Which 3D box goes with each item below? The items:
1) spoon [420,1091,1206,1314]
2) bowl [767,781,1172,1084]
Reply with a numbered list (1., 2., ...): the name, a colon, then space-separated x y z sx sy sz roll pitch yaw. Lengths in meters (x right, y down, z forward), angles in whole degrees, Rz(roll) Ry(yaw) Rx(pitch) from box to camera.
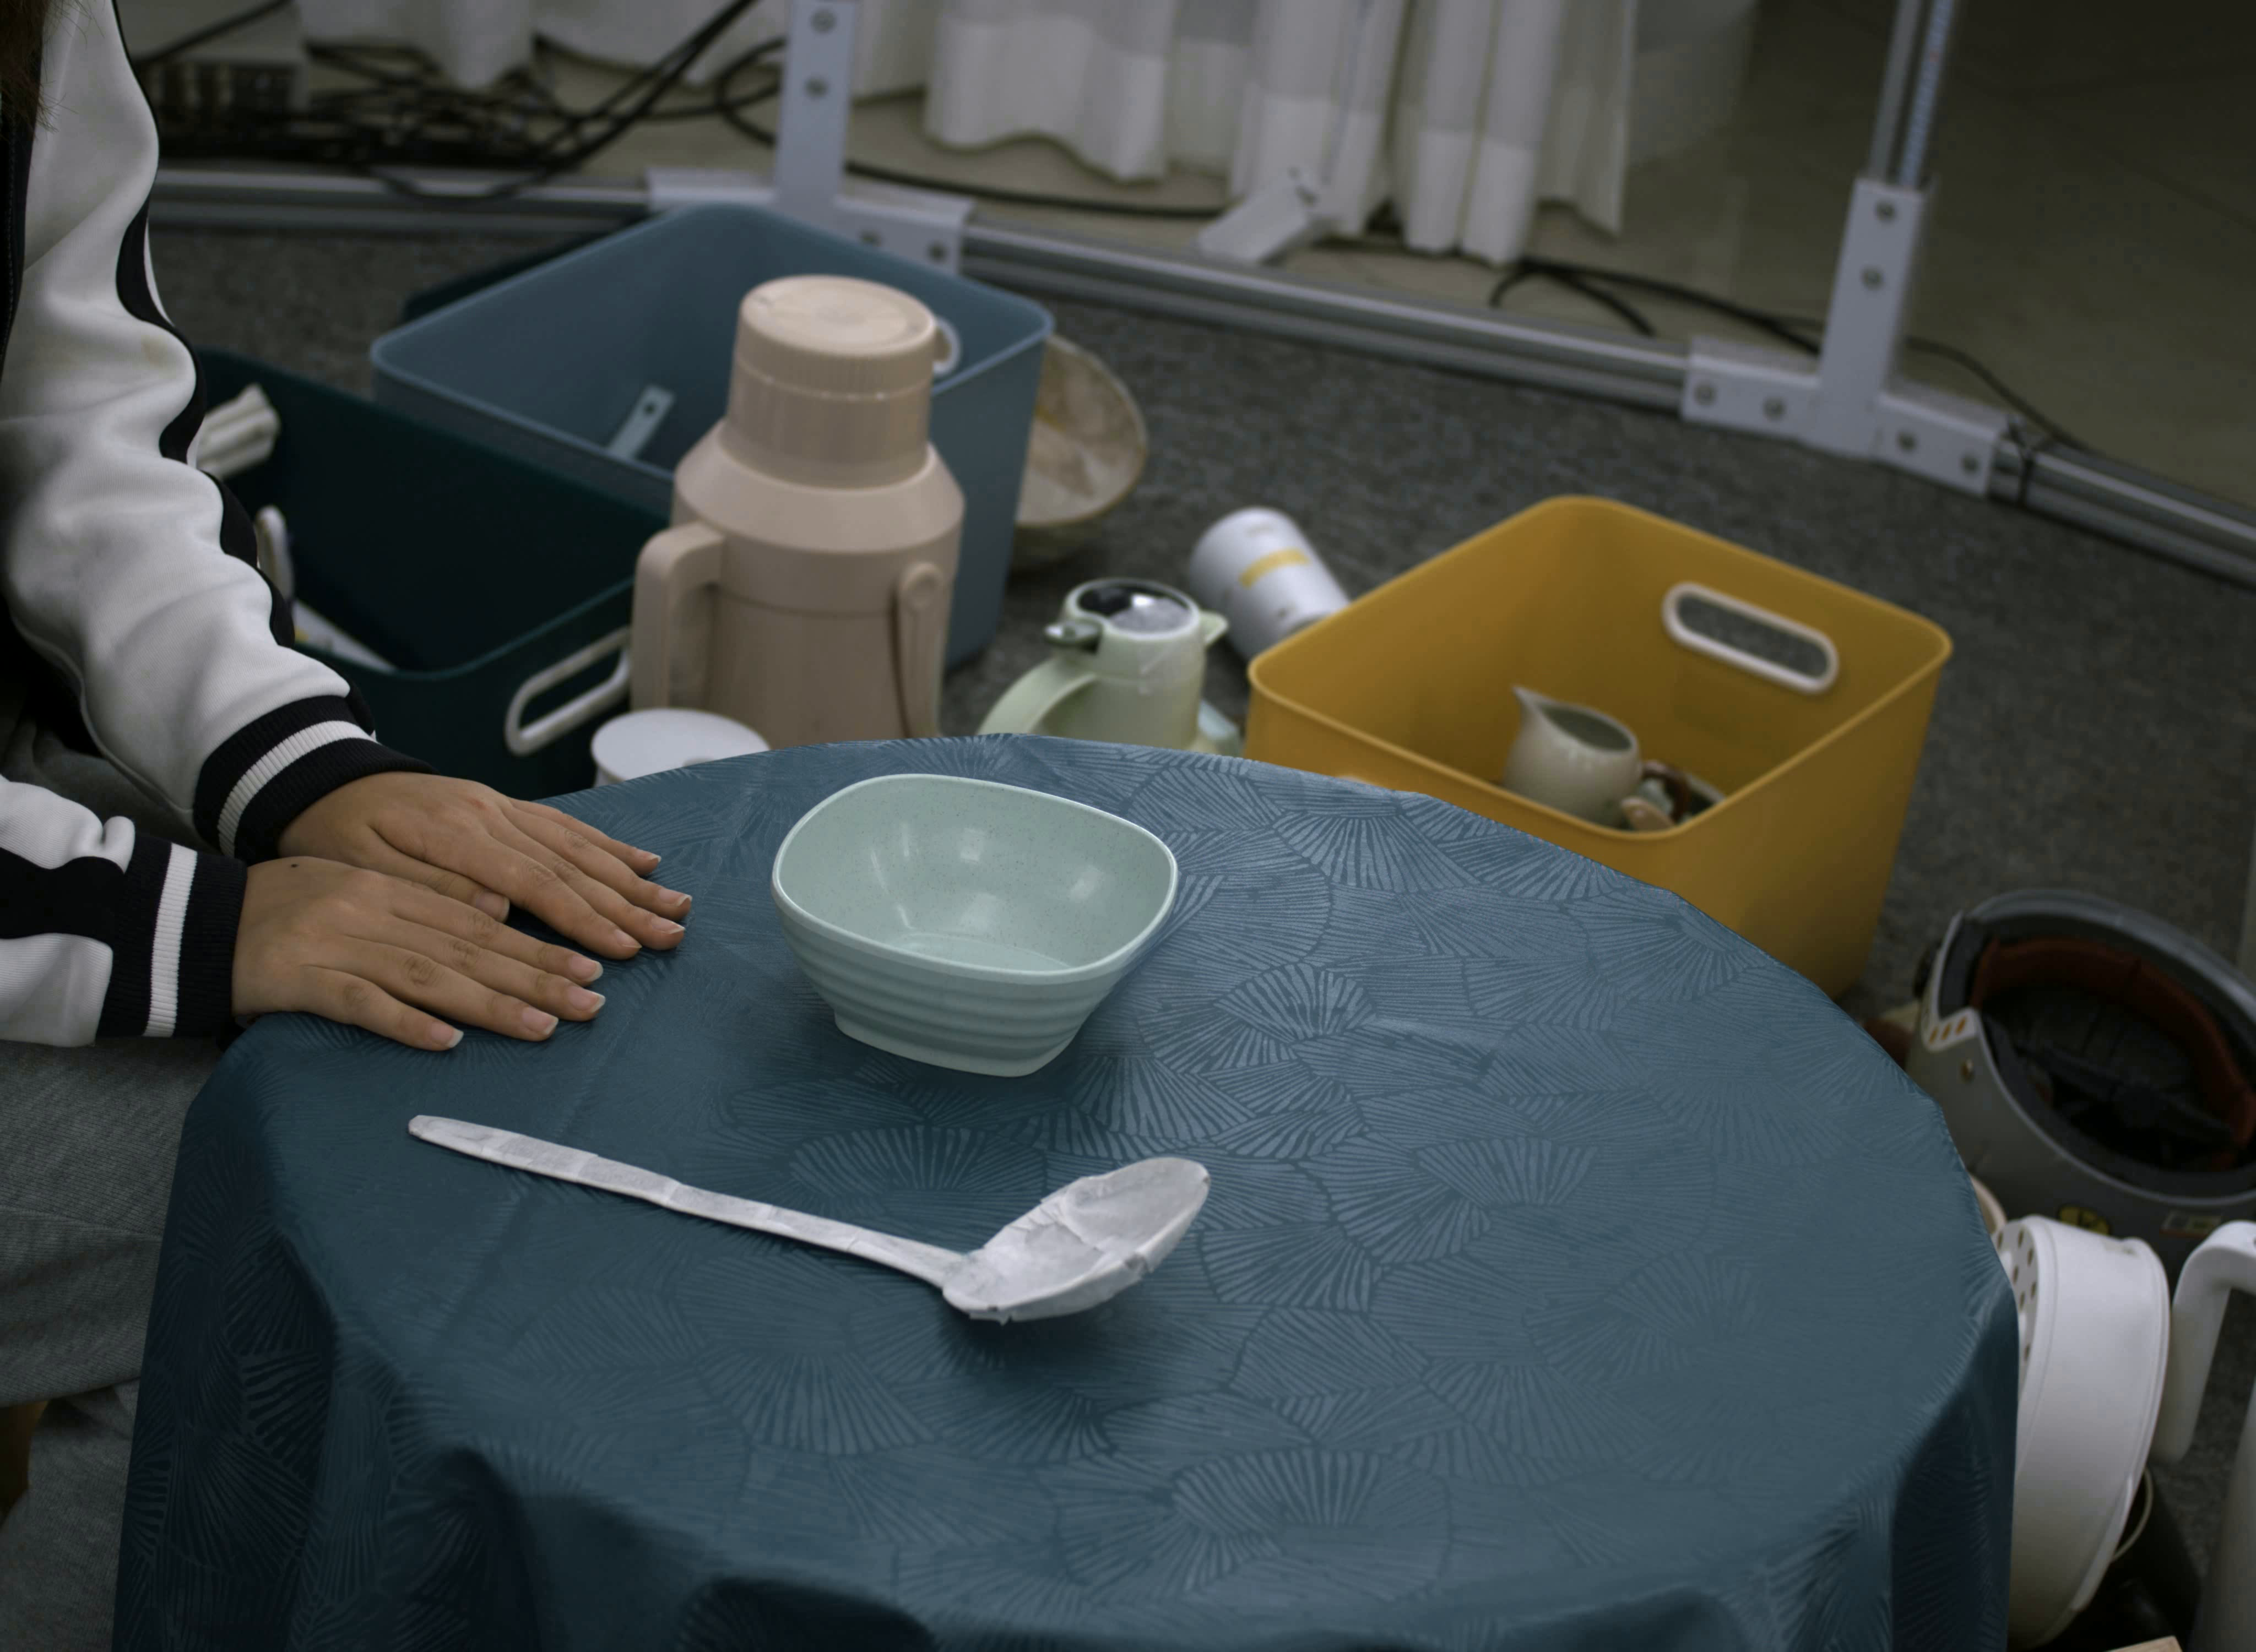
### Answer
1. spoon: -0.107 0.105 1.752 0.278 0.059 0.100 16 23 18
2. bowl: -0.058 0.043 1.890 0.151 0.058 0.152 6 26 -3
